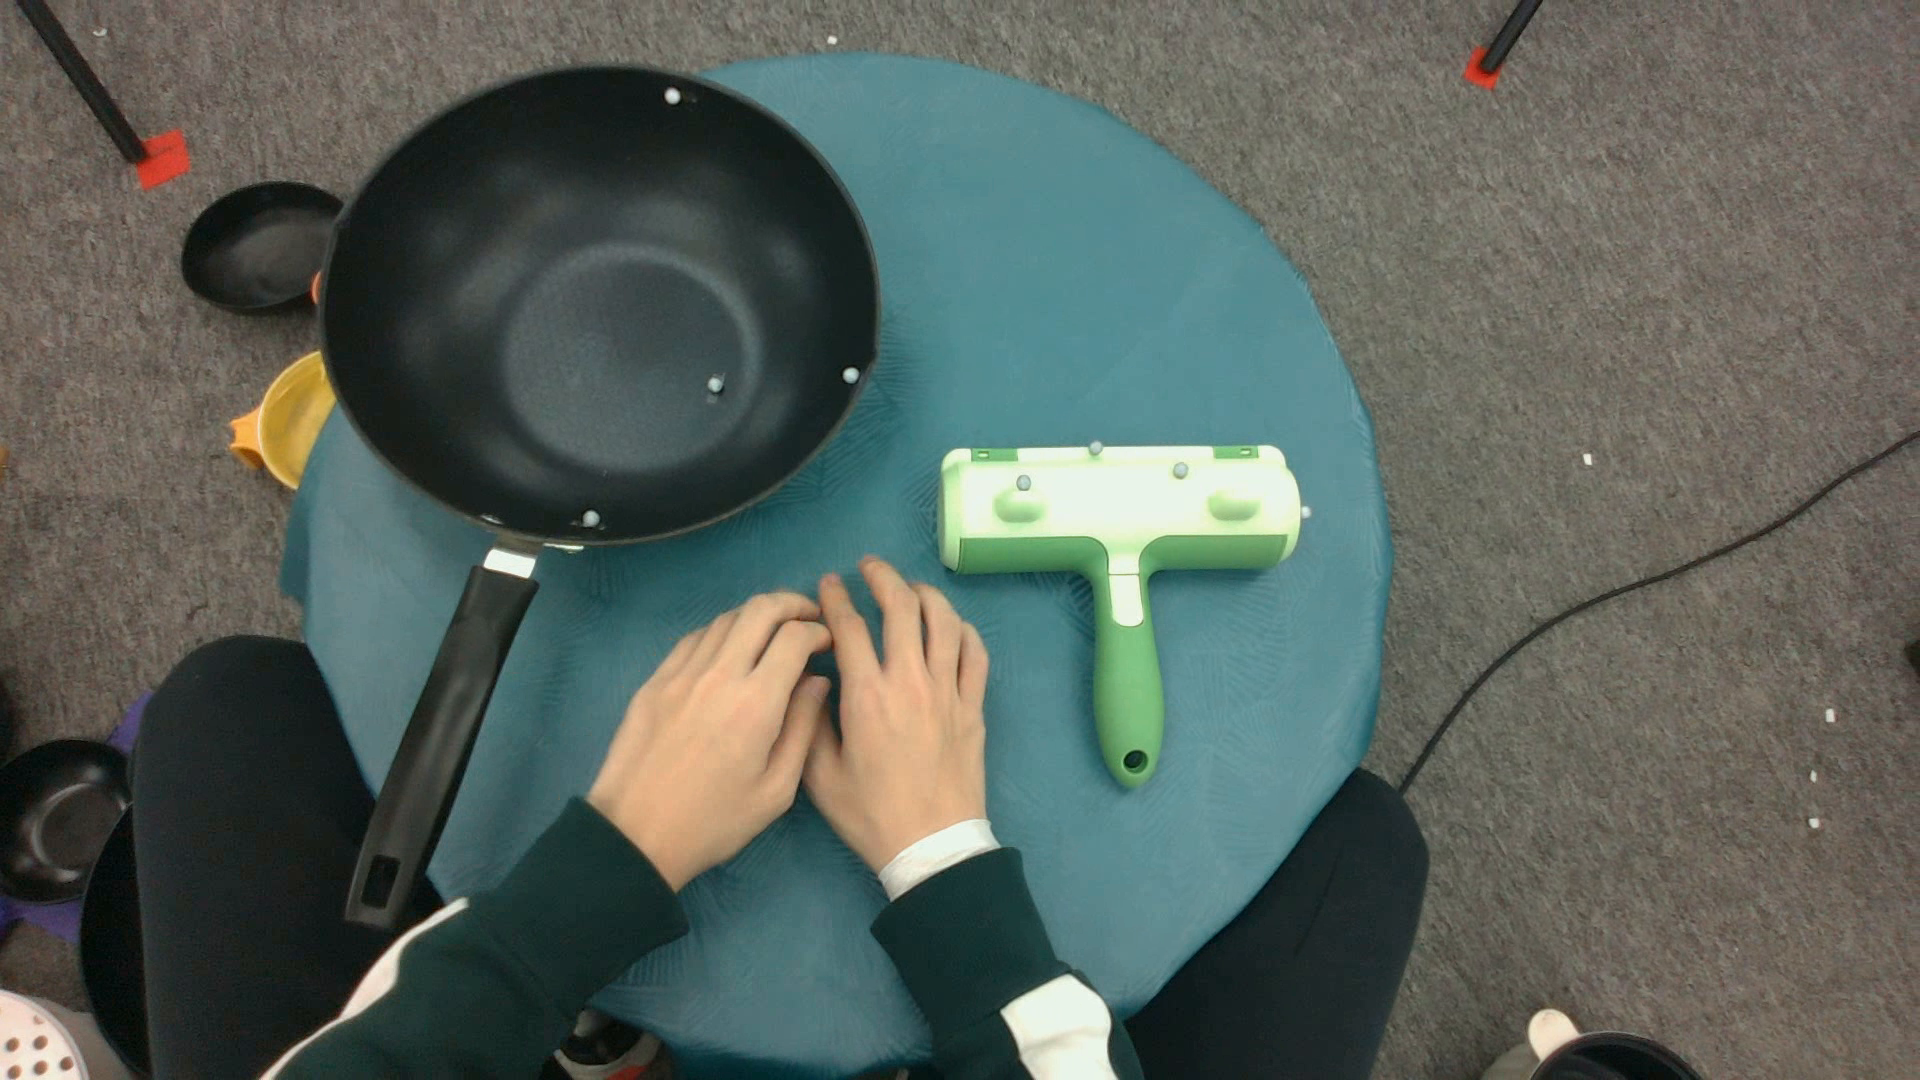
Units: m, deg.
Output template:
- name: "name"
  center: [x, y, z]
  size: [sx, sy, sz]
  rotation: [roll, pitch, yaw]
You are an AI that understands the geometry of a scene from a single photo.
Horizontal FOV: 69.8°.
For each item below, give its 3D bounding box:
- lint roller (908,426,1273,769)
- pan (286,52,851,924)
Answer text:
- name: "lint roller"
  center: [0.077, 0.023, 0.728]
  size: [0.199, 0.082, 0.184]
  rotation: [-2, 65, -8]
- name: "pan"
  center: [-0.219, -0.036, 0.712]
  size: [0.288, 0.086, 0.465]
  rotation: [12, 71, -2]
